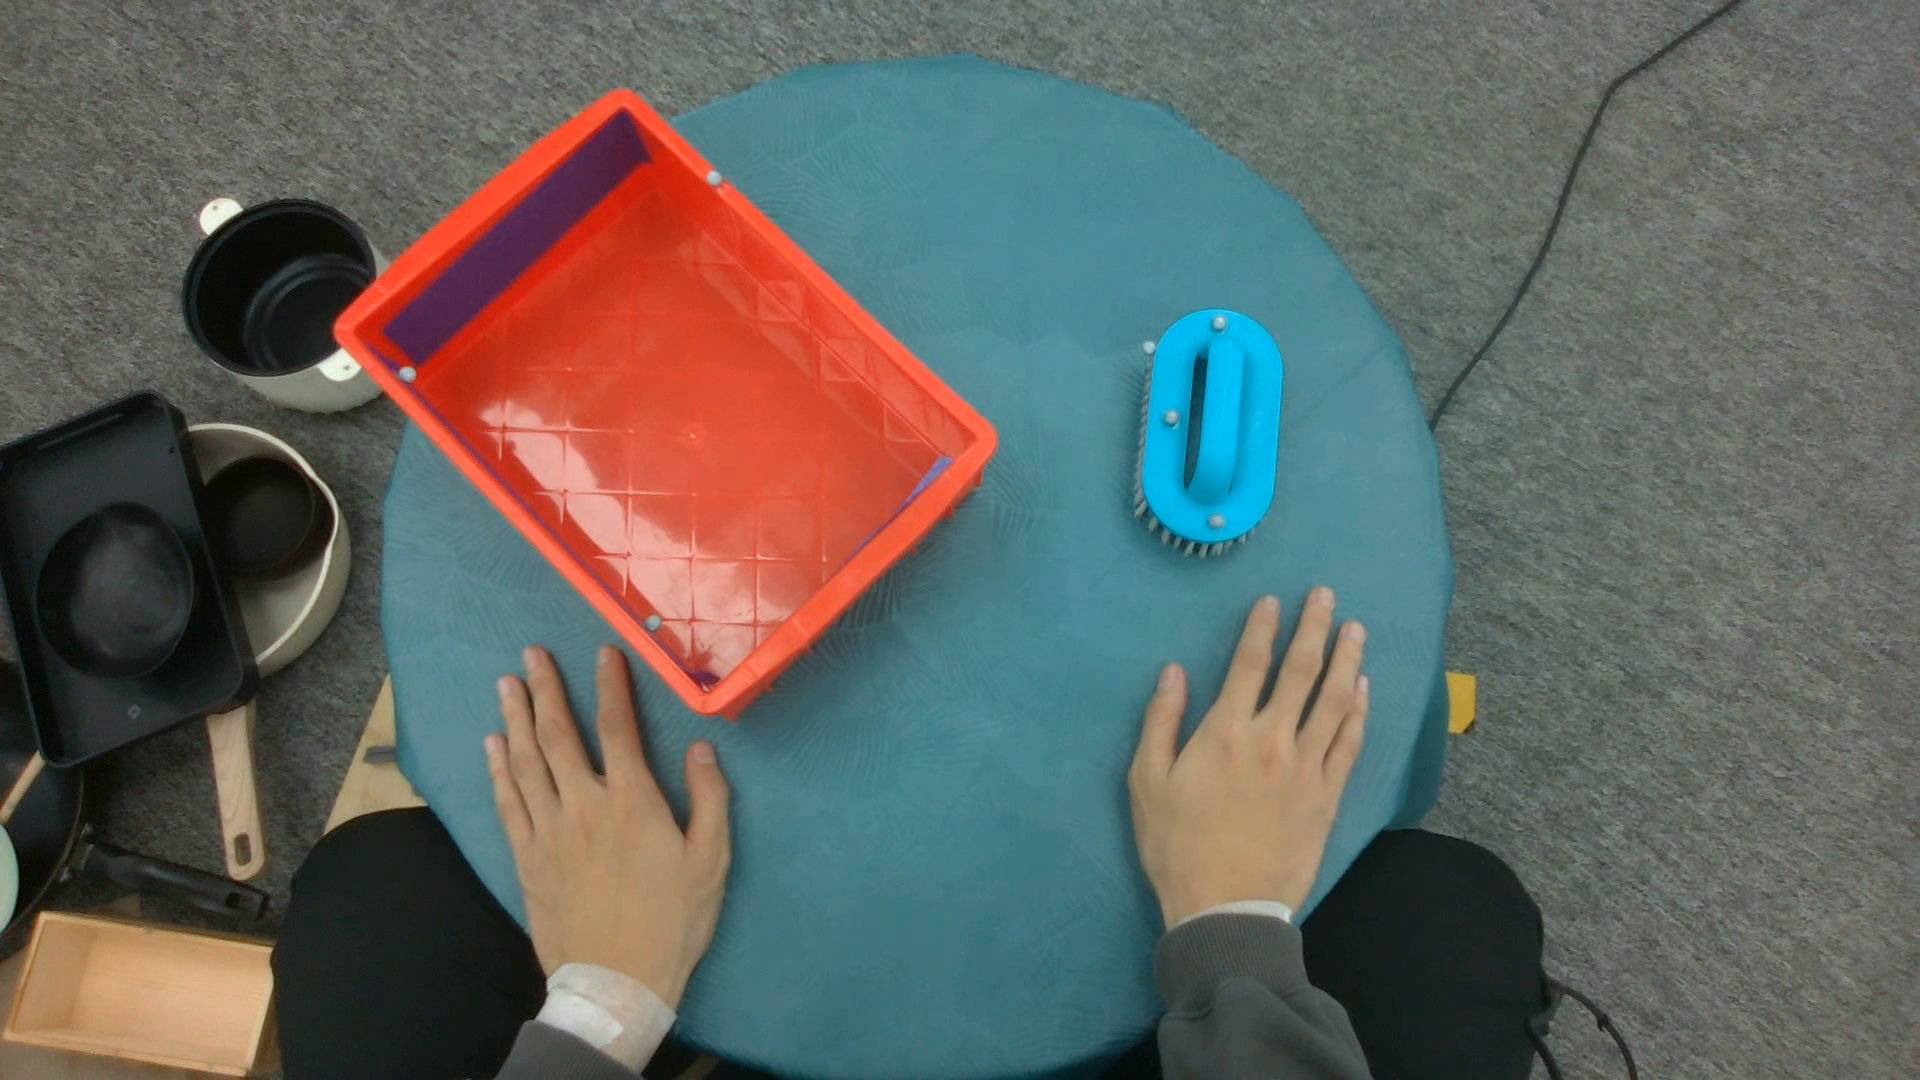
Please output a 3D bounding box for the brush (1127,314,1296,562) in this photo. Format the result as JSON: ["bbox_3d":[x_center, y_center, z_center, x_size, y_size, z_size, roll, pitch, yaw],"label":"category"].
[{"bbox_3d":[0.144,-0.061,0.768,0.084,0.063,0.142,10,75,-1],"label":"brush"}]

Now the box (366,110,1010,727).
[{"bbox_3d":[-0.144,-0.064,0.765,0.207,0.096,0.304,-43,77,-10],"label":"box"}]
